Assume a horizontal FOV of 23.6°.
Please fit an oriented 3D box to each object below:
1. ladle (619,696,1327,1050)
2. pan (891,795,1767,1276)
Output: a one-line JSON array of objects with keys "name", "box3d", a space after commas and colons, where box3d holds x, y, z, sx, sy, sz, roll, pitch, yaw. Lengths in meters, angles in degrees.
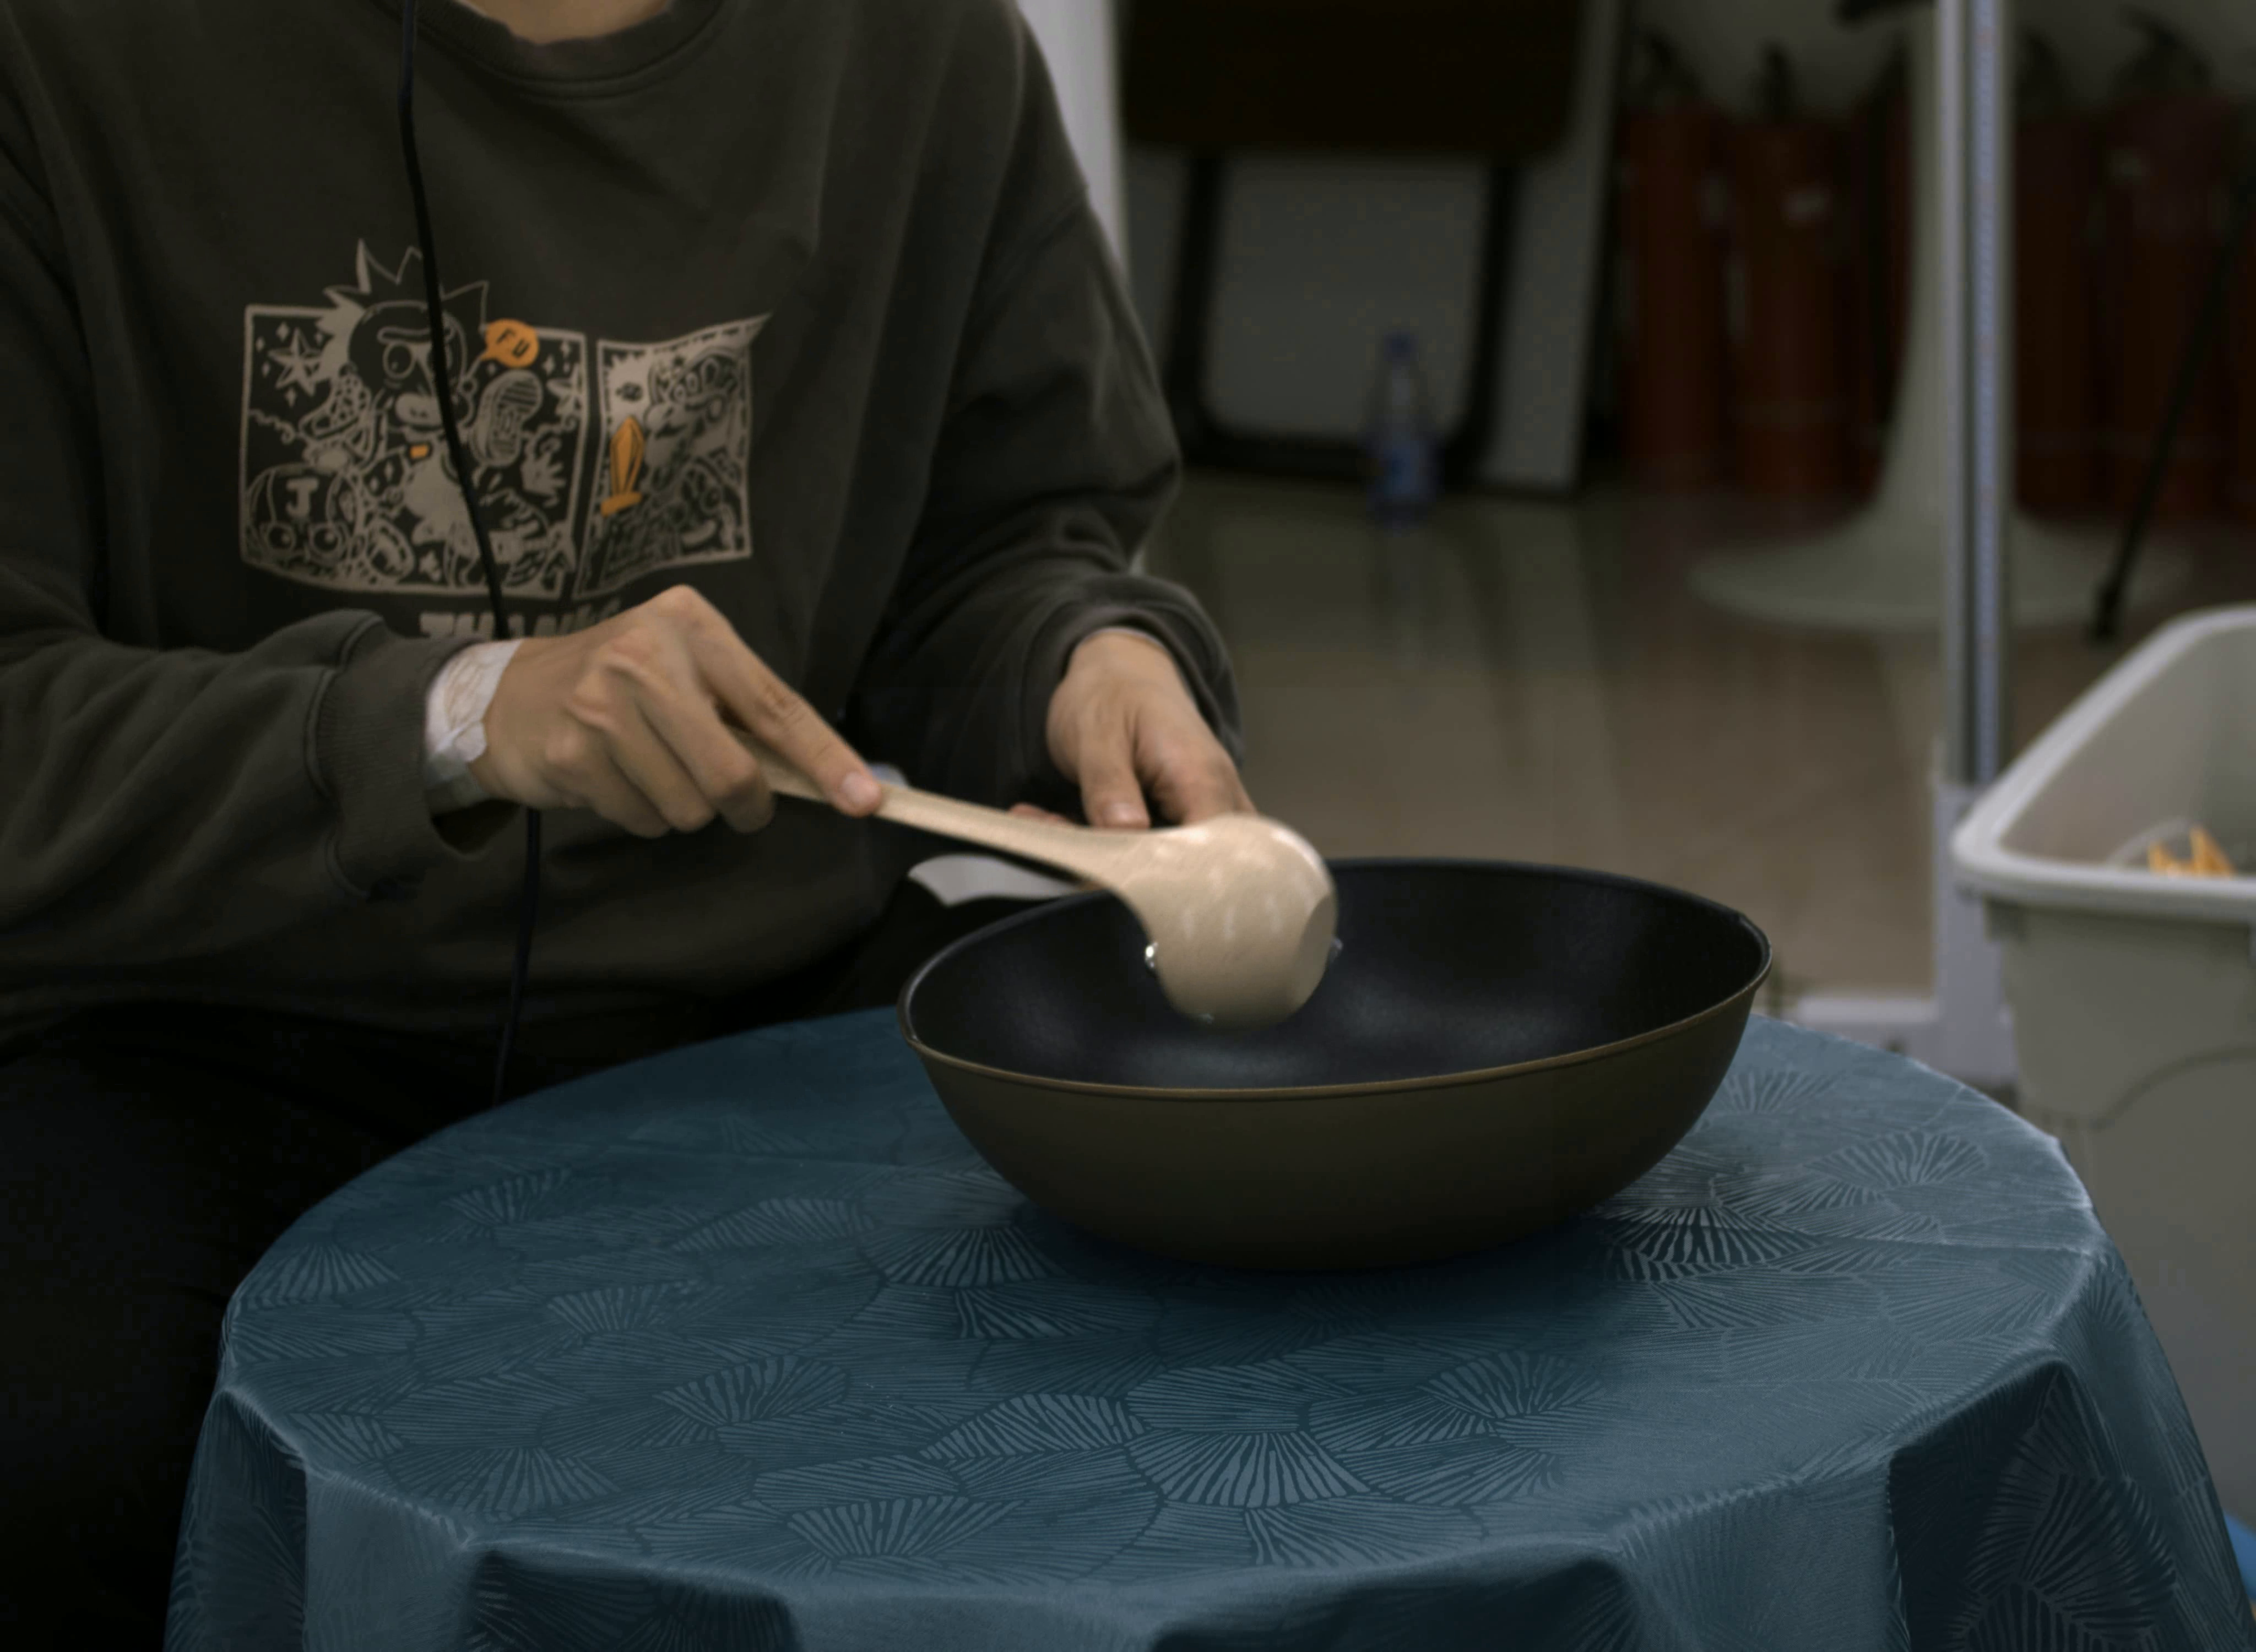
[{"name": "ladle", "box3d": [-0.052, 0.010, 1.801, 0.255, 0.072, 0.072, 18, -17, 27]}, {"name": "pan", "box3d": [0.041, 0.067, 1.818, 0.282, 0.088, 0.467, -8, 12, -15]}]
